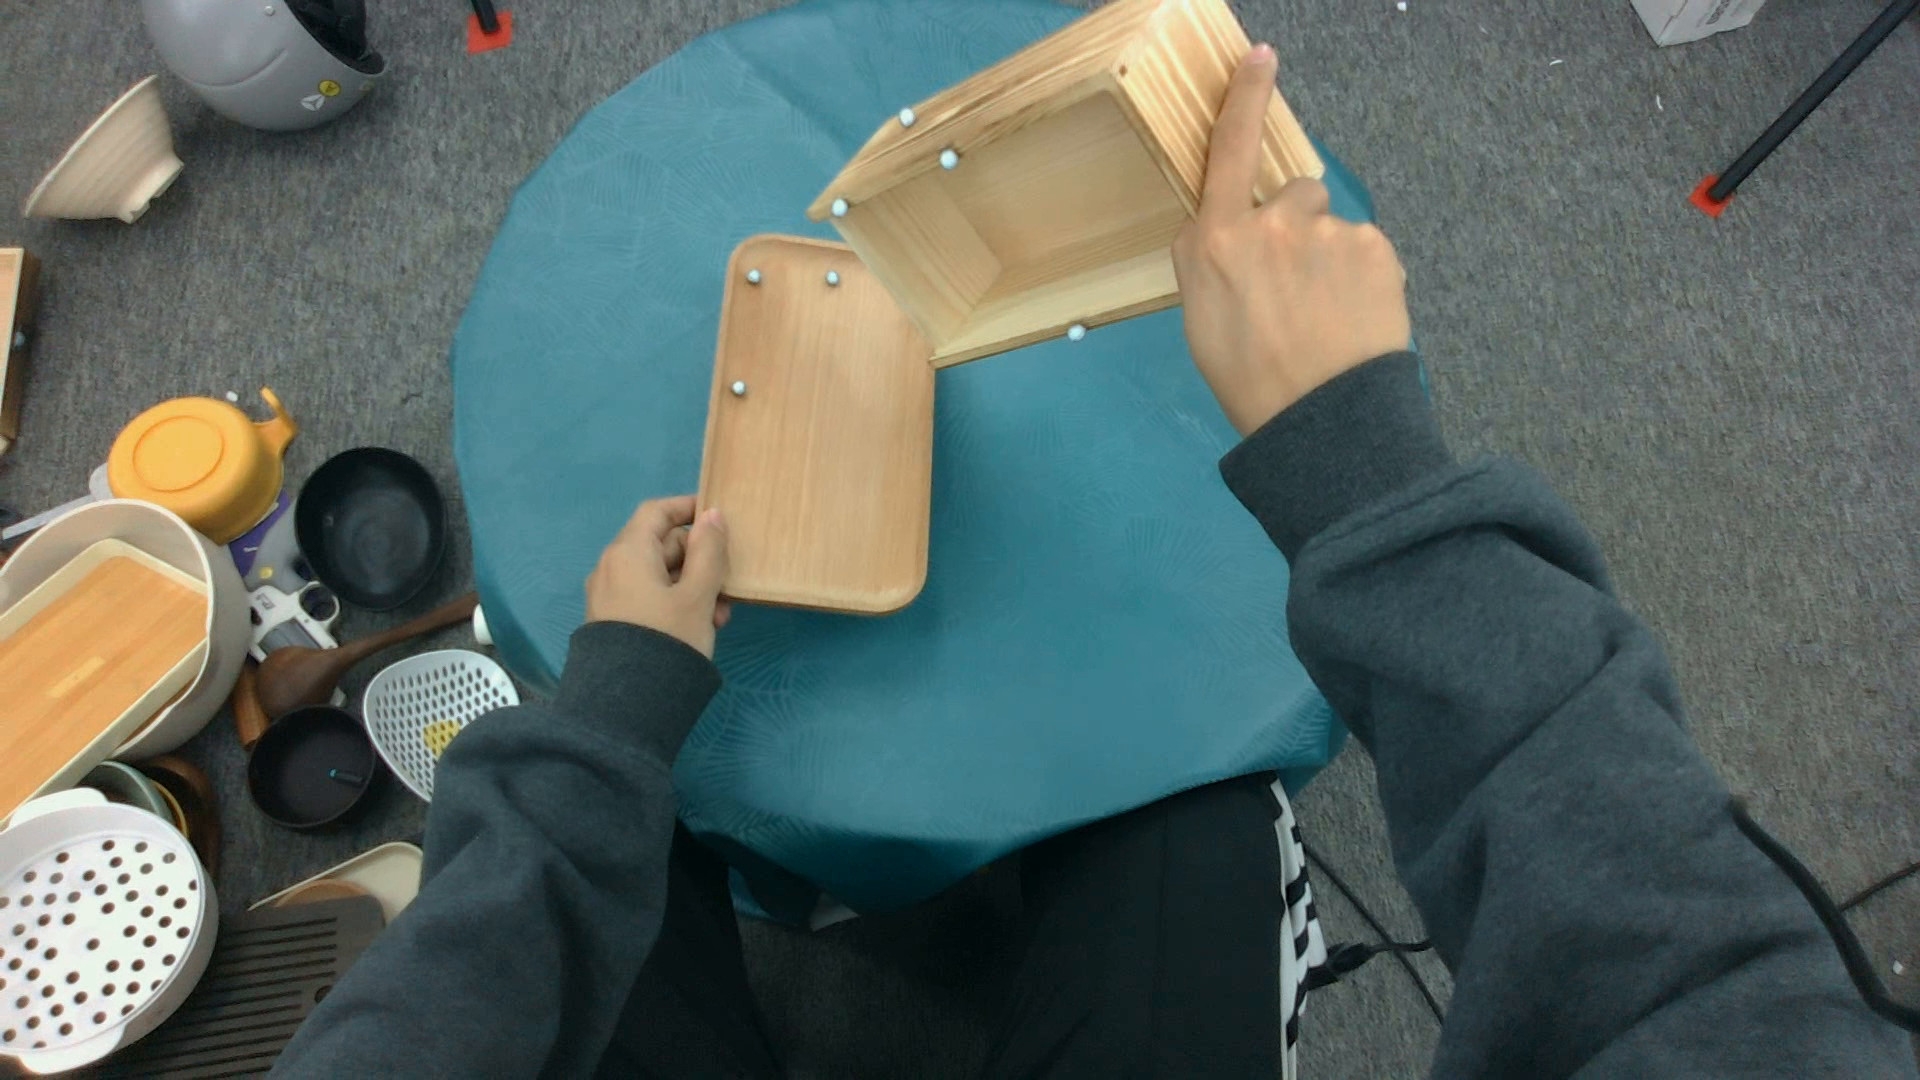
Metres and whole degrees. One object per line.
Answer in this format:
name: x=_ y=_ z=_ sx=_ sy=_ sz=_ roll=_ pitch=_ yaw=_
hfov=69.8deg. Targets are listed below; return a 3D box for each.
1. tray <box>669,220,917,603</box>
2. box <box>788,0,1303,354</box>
tray: x=-0.090 y=-0.079 z=0.784 sx=0.130 sy=0.023 sz=0.251 roll=5 pitch=60 yaw=-7
box: x=0.033 y=-0.165 z=0.634 sx=0.107 sy=0.211 sz=0.080 roll=50 pitch=58 yaw=-26
